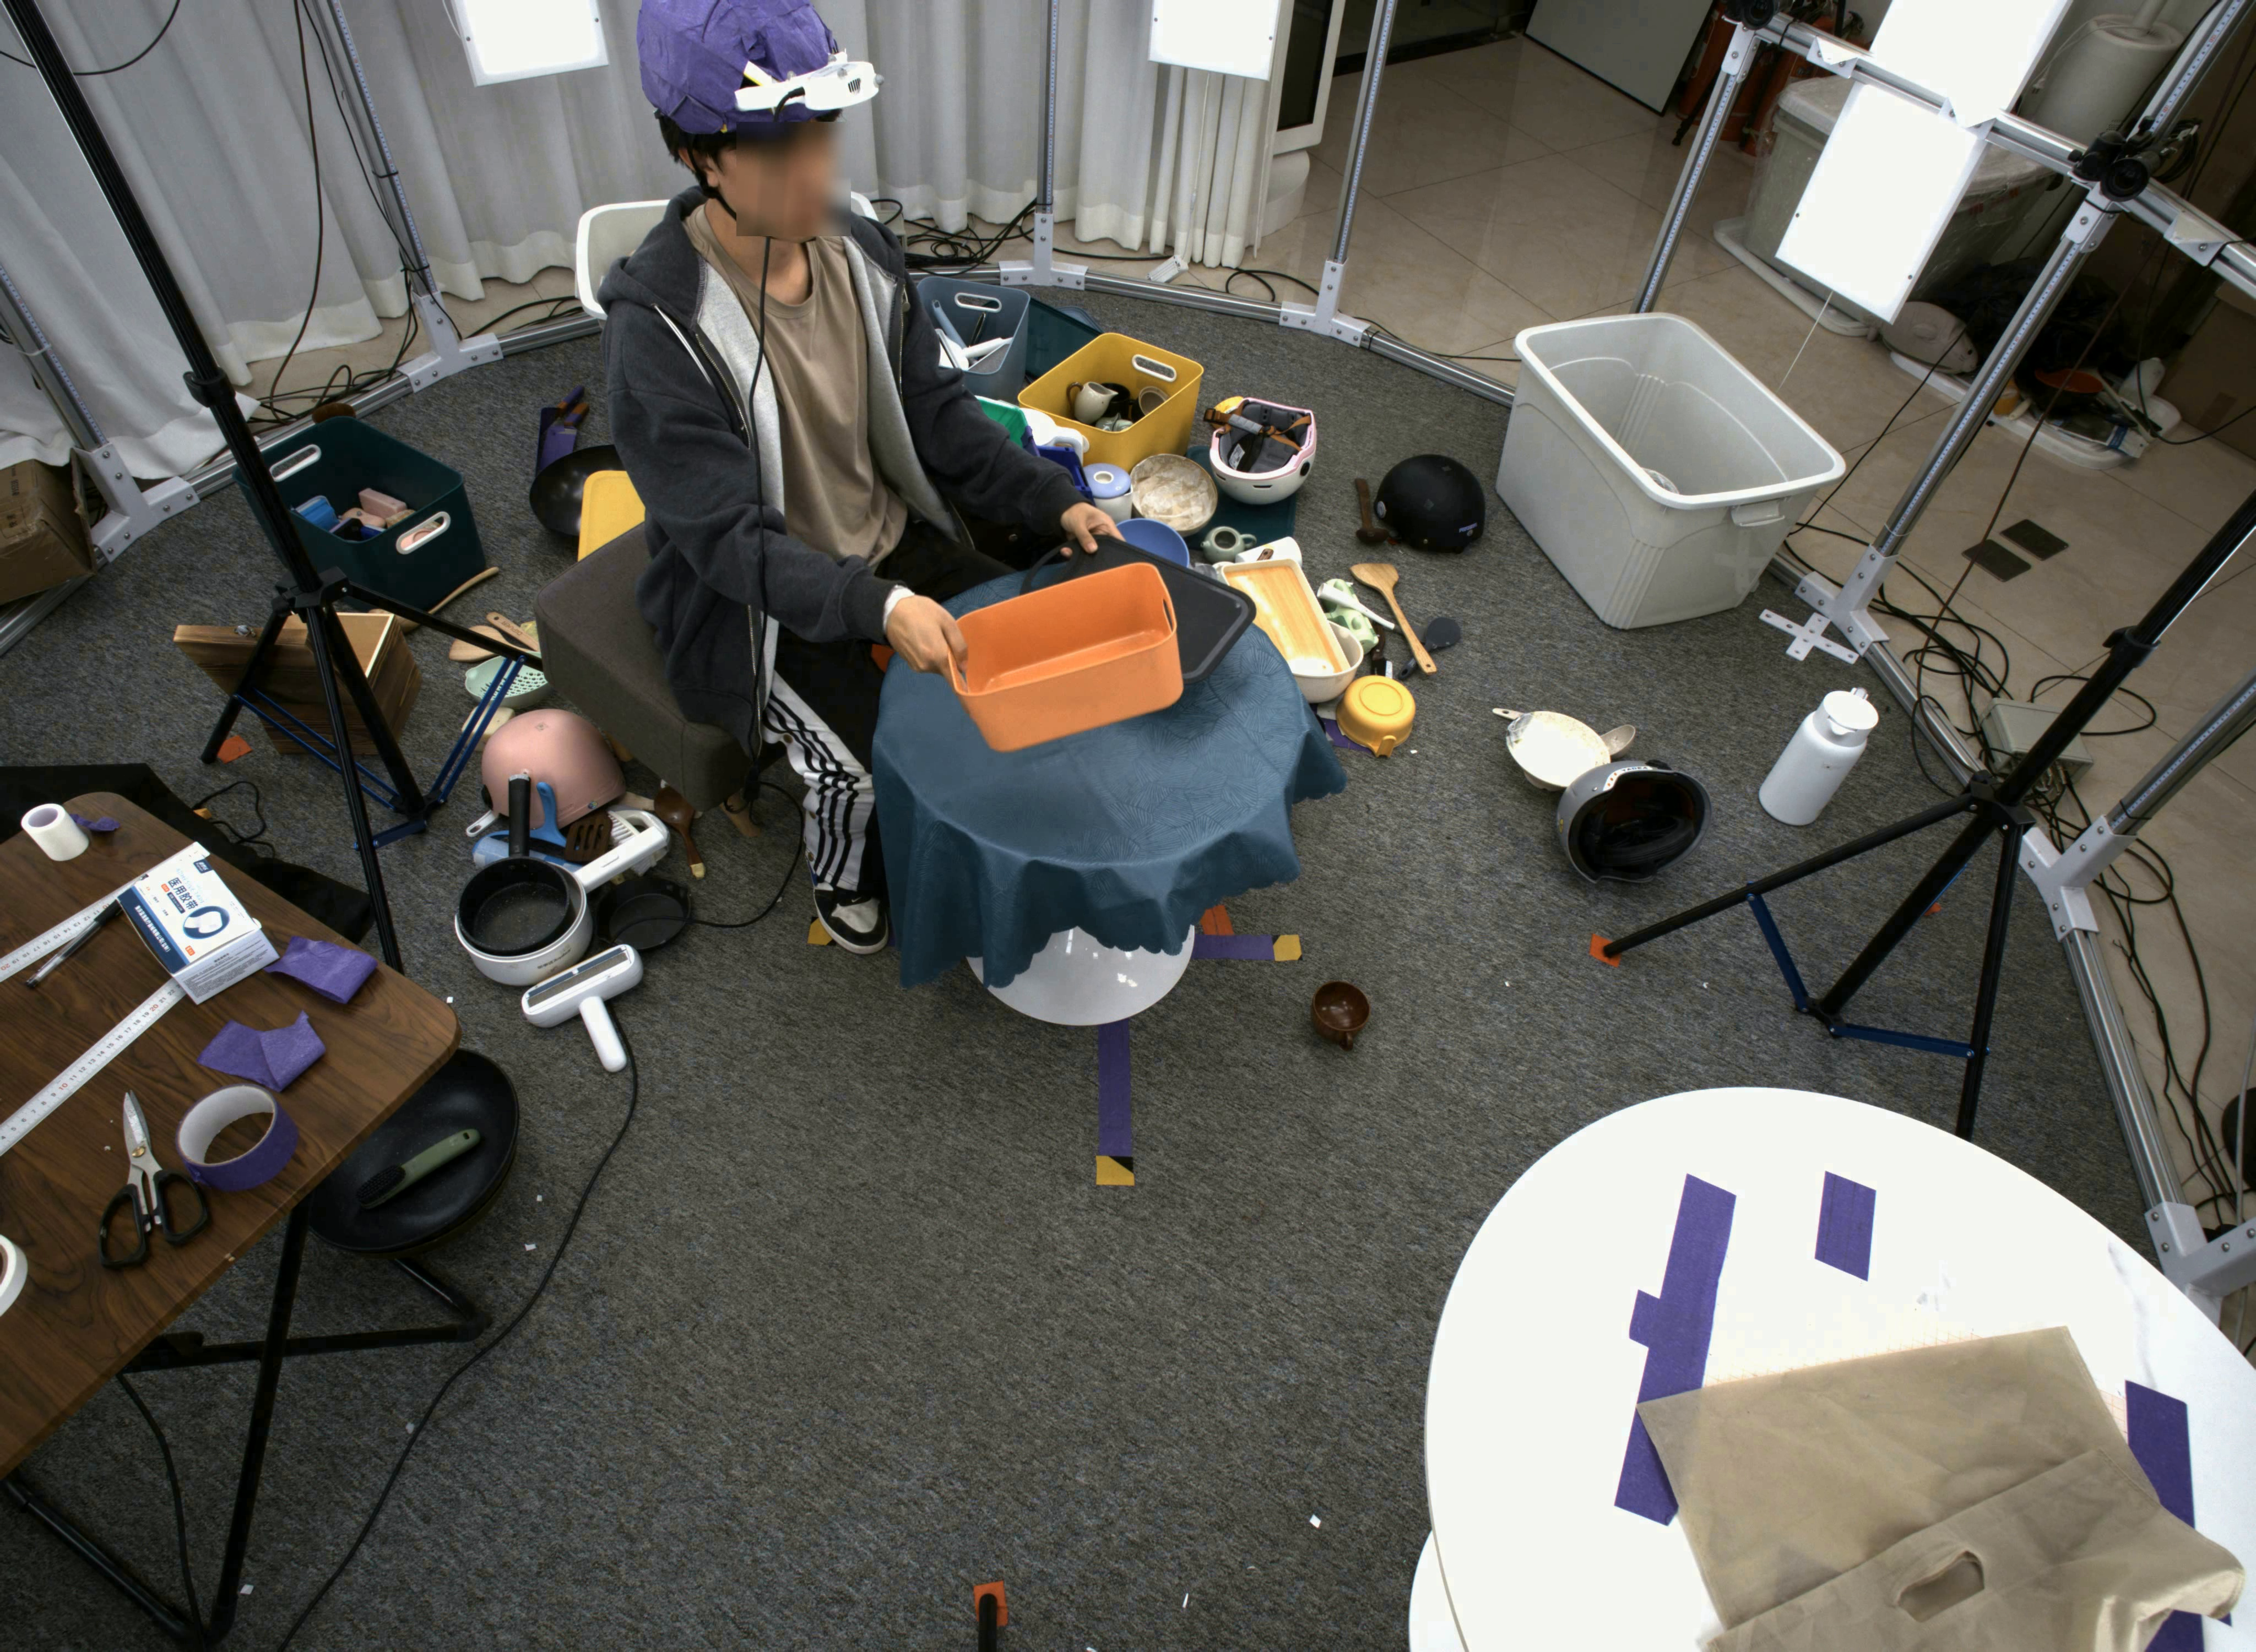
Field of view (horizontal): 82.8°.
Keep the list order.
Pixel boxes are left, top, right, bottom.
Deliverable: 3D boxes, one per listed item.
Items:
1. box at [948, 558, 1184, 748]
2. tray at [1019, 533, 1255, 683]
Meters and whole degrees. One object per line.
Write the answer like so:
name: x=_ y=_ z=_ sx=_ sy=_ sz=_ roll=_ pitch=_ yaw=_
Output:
box: x=-0.070 y=-0.205 z=1.537 sx=0.273 sy=0.100 sz=0.204 roll=-15 pitch=40 yaw=2
tray: x=0.005 y=-0.320 z=1.838 sx=0.328 sy=0.009 sz=0.214 roll=27 pitch=56 yaw=18
